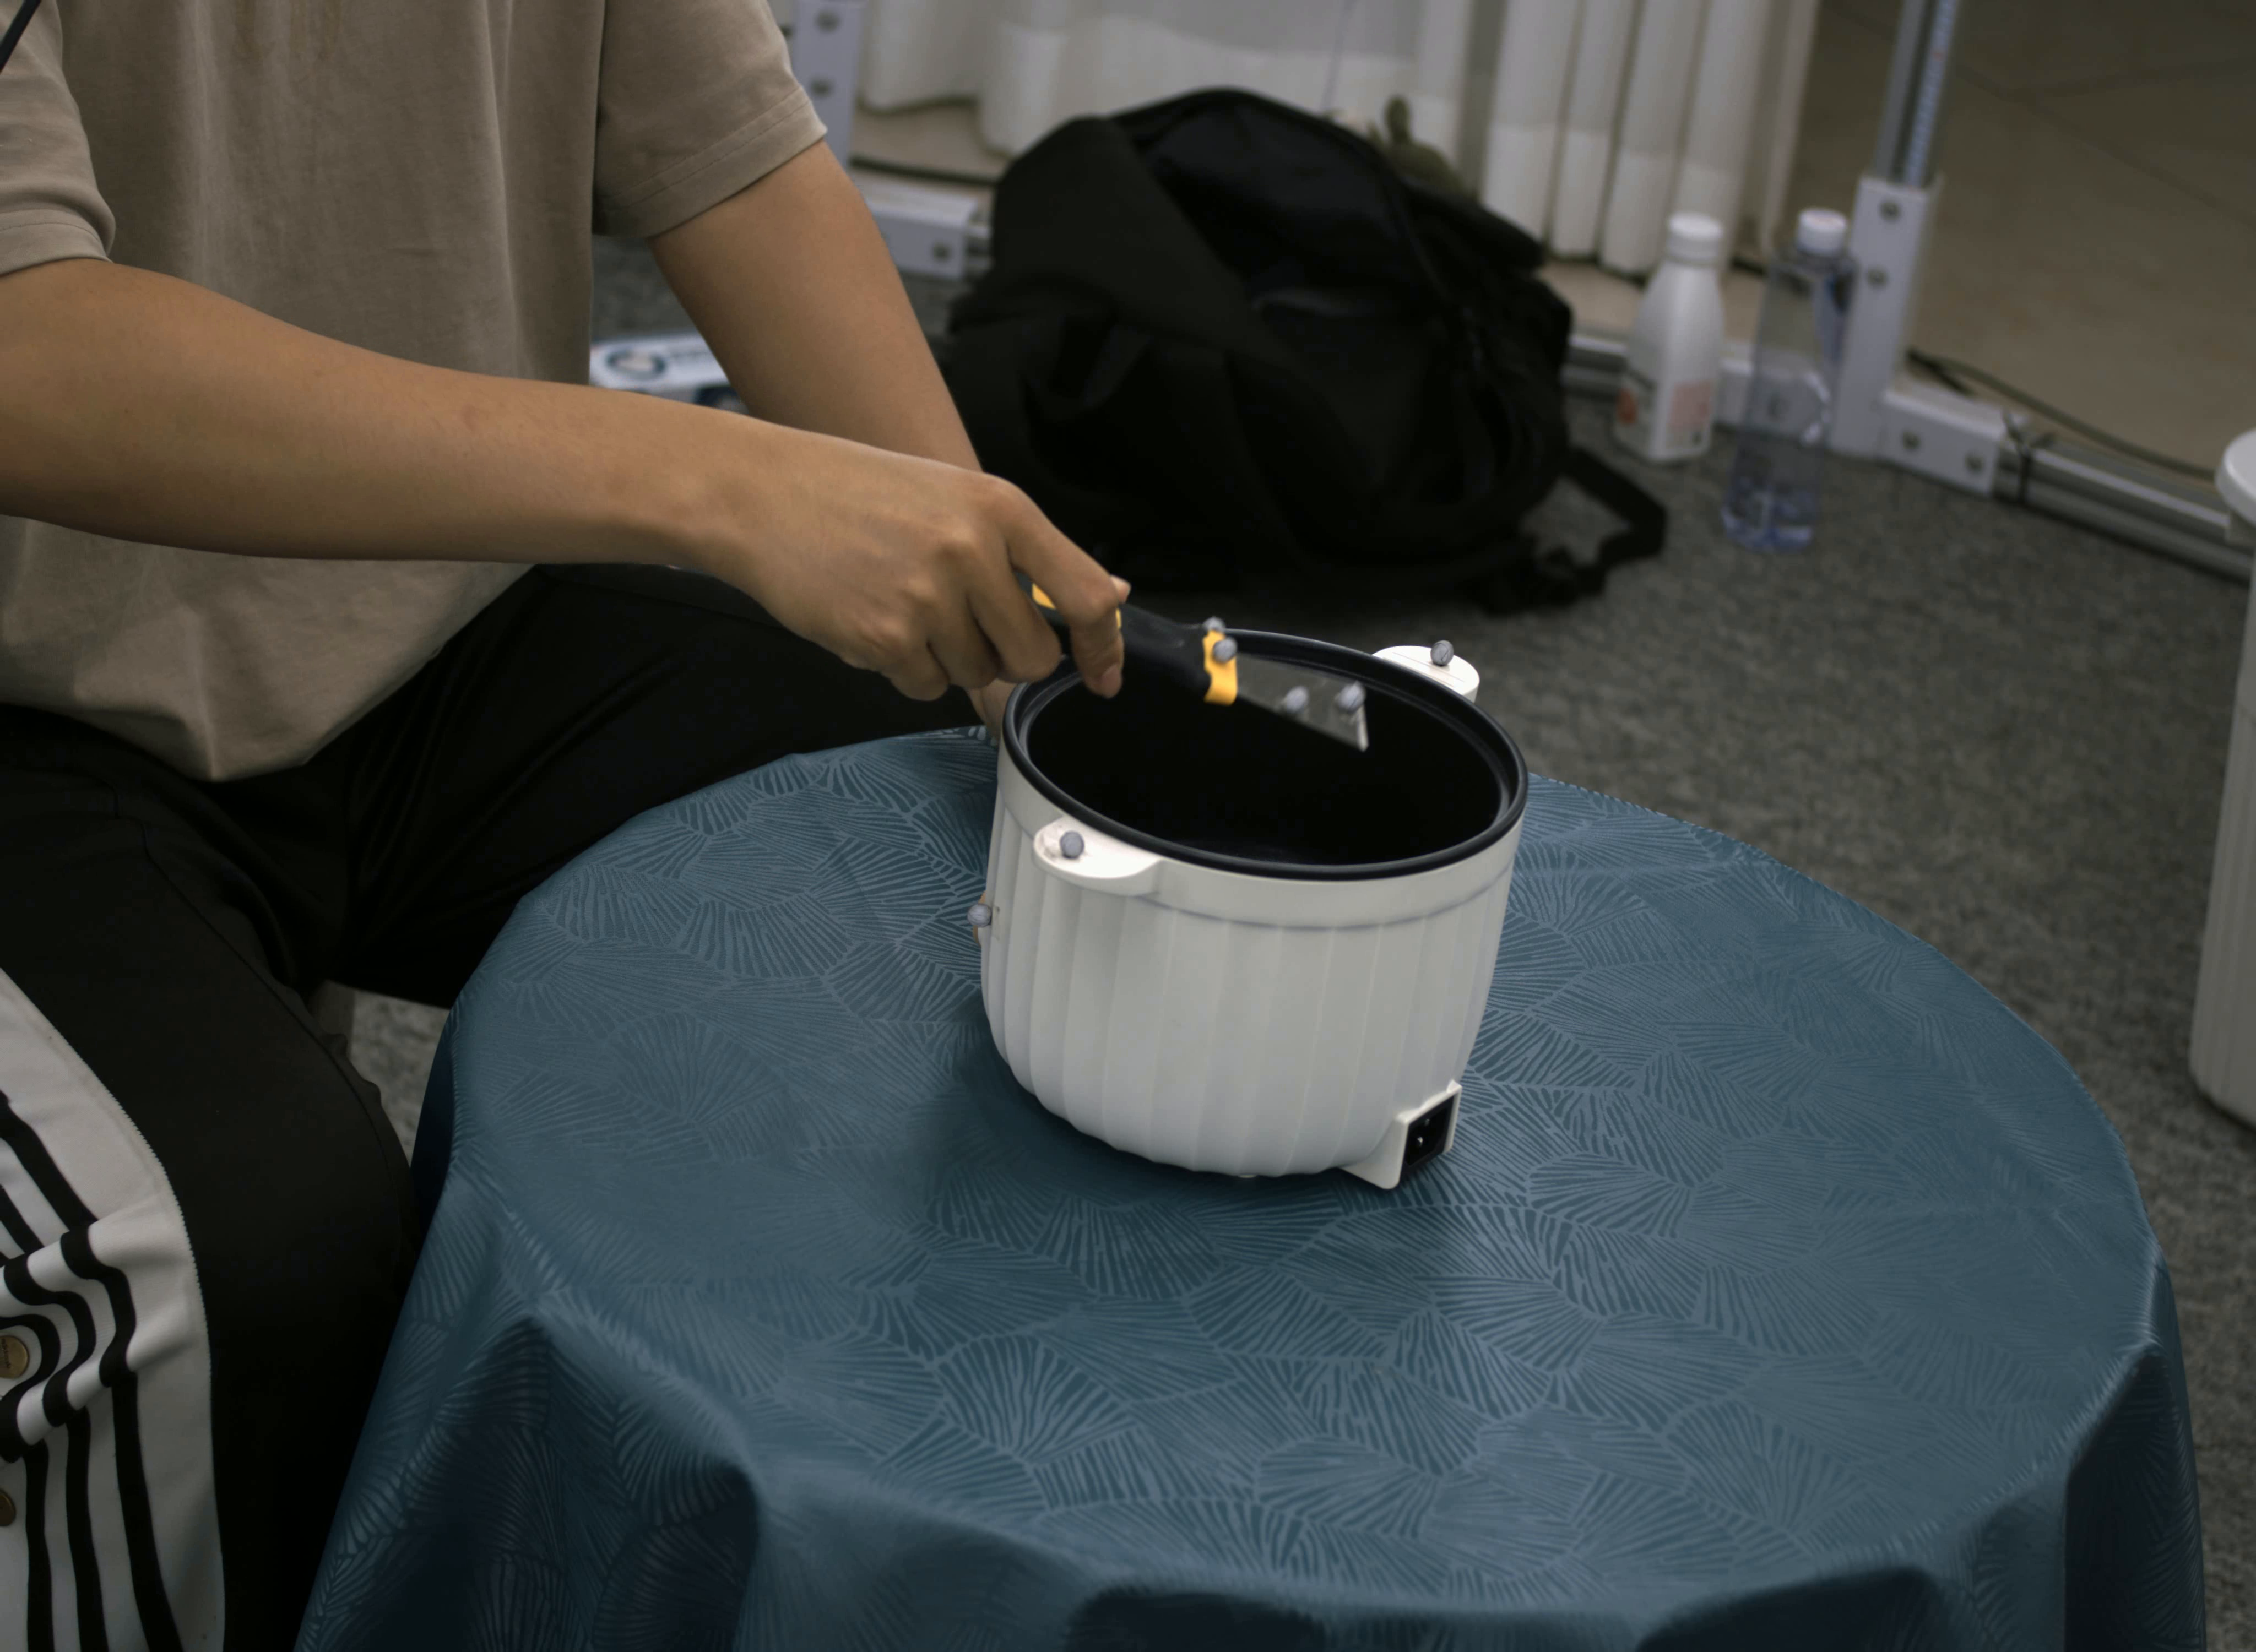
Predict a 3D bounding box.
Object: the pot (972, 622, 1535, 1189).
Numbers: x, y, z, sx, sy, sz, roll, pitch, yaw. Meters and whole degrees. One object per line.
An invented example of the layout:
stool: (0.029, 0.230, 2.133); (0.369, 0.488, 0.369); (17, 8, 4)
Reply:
pot: (0.035, 0.029, 1.845); (0.191, 0.142, 0.239); (27, 32, 26)

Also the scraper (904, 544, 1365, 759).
scraper: (0.003, -0.059, 1.786); (0.170, 0.015, 0.039); (18, 42, -19)
